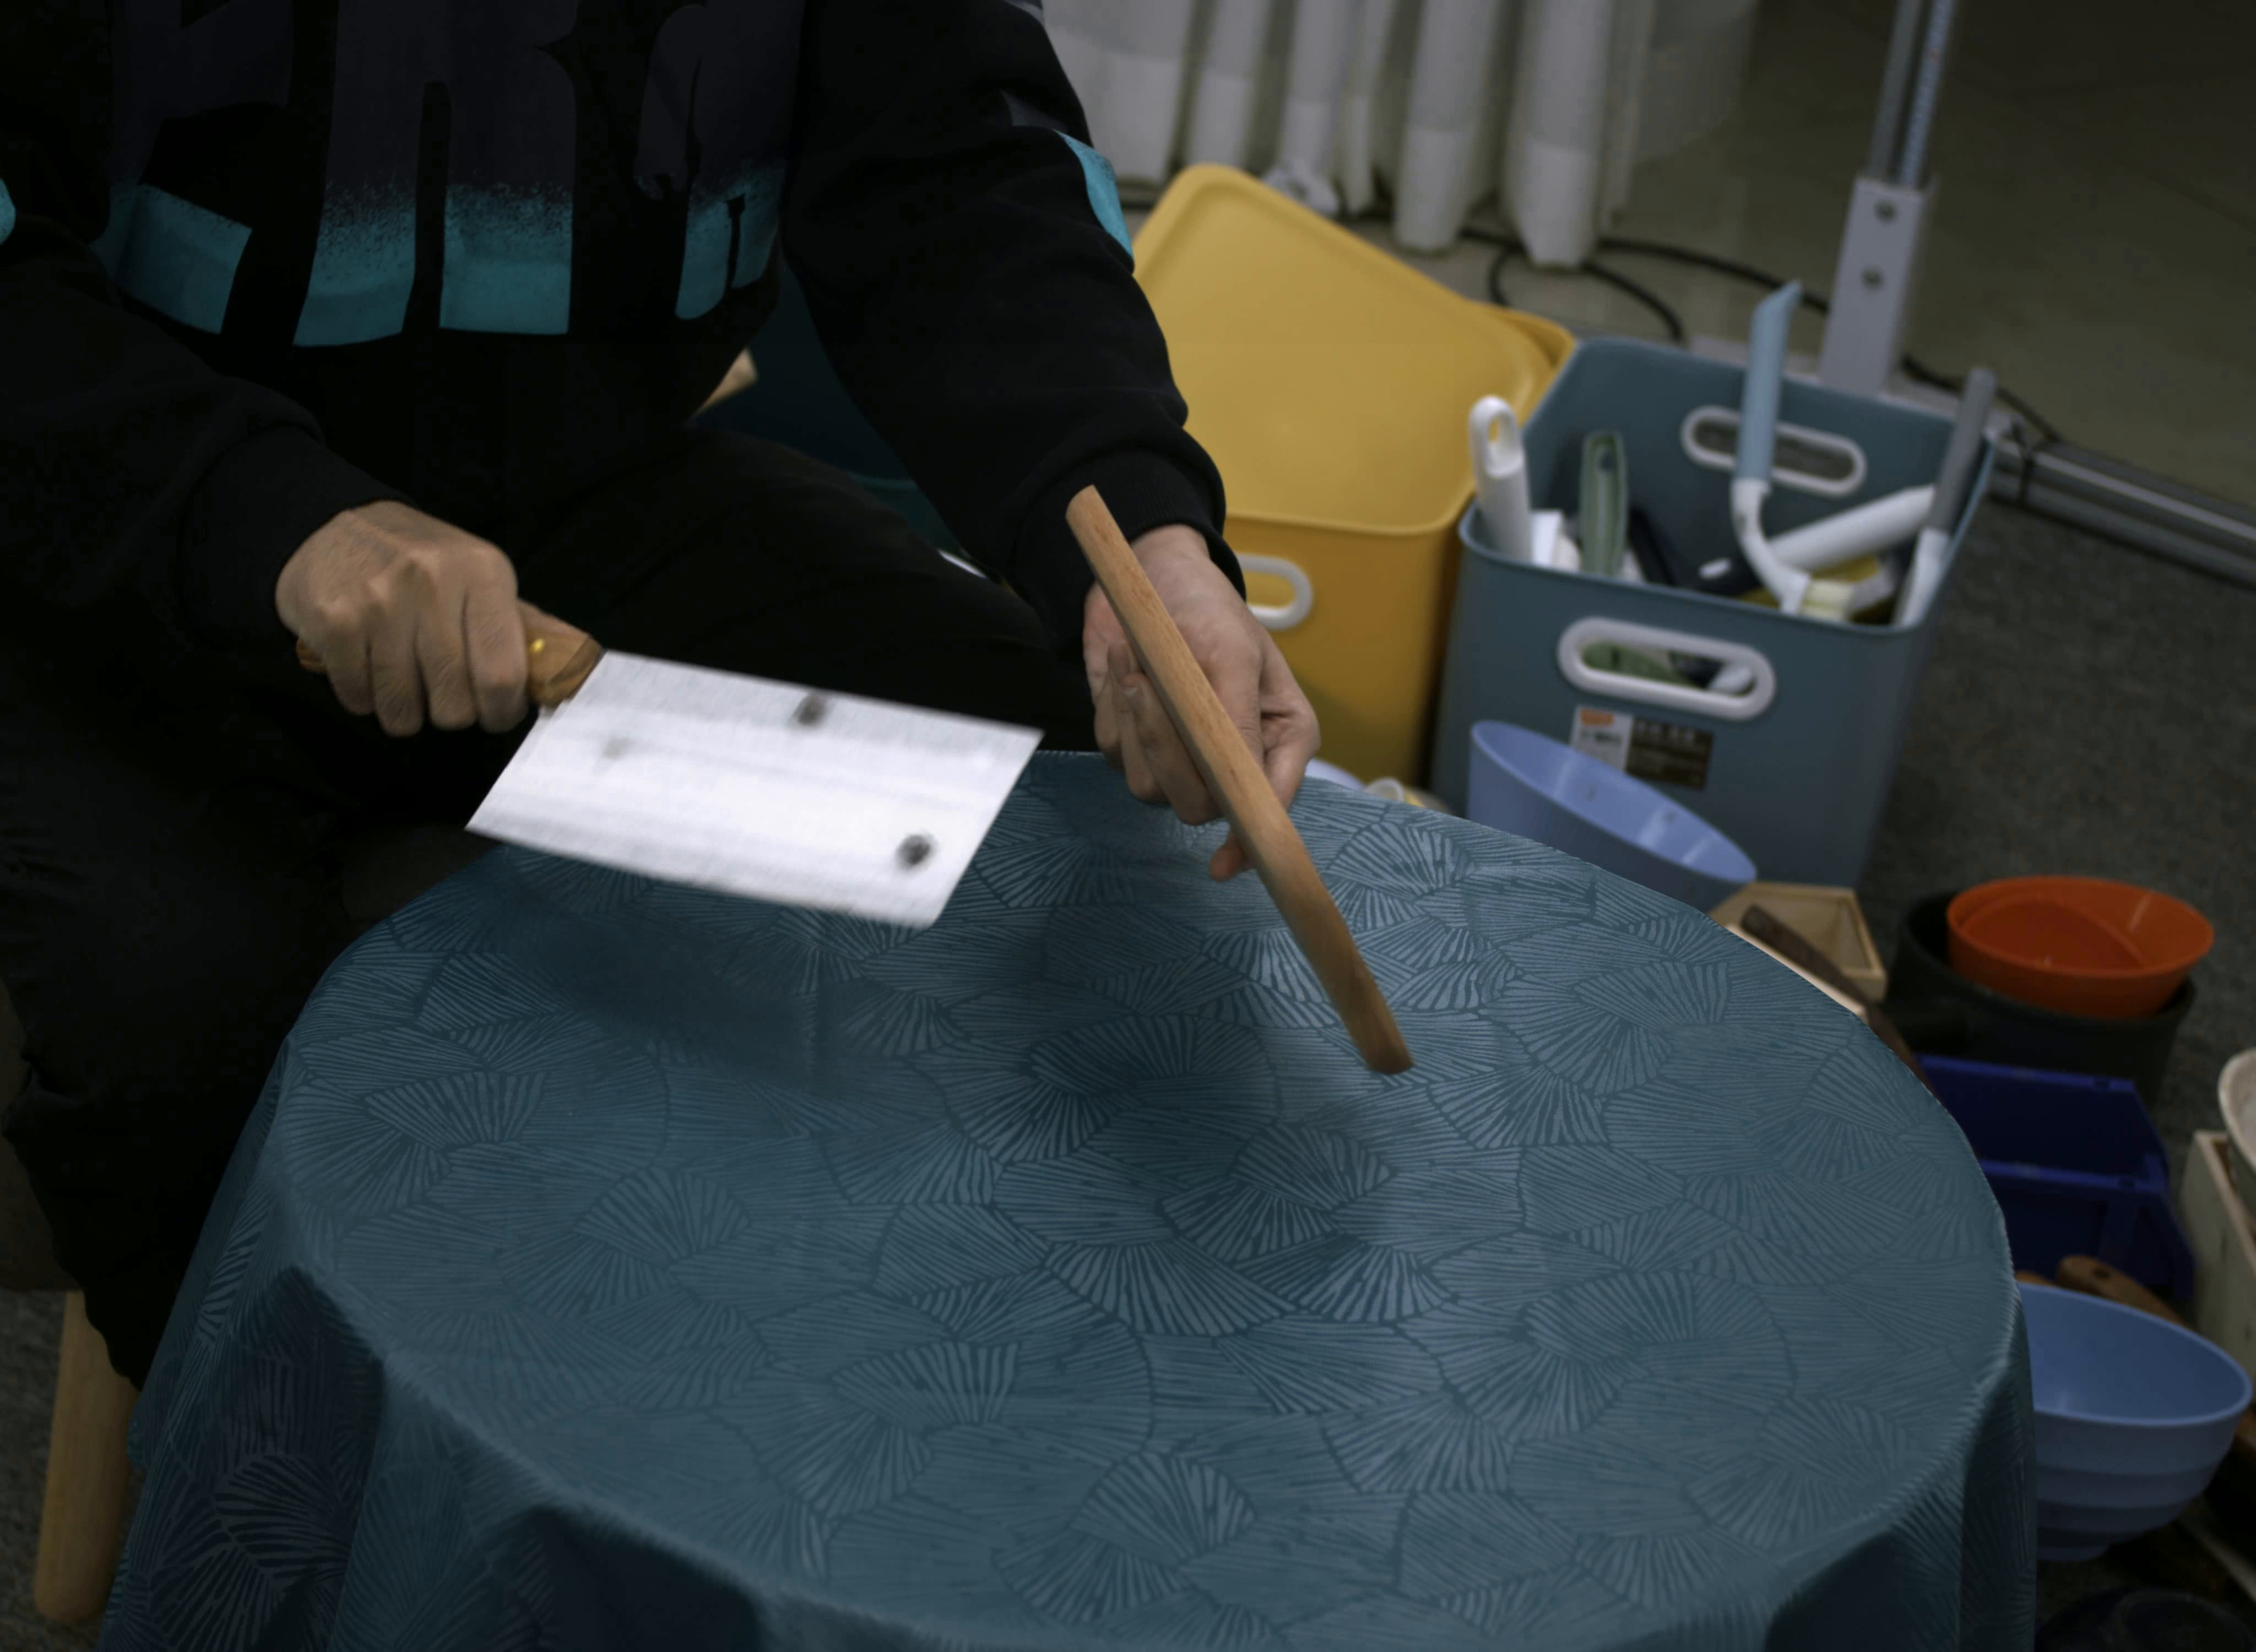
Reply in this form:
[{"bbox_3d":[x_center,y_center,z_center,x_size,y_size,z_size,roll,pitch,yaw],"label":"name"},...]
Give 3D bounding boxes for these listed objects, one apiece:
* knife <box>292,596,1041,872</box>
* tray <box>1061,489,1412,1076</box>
[{"bbox_3d":[-0.178,-0.030,1.891,0.307,0.021,0.093,10,51,26],"label":"knife"},{"bbox_3d":[0.035,-0.017,1.879,0.023,0.129,0.253,-27,38,-3],"label":"tray"}]
